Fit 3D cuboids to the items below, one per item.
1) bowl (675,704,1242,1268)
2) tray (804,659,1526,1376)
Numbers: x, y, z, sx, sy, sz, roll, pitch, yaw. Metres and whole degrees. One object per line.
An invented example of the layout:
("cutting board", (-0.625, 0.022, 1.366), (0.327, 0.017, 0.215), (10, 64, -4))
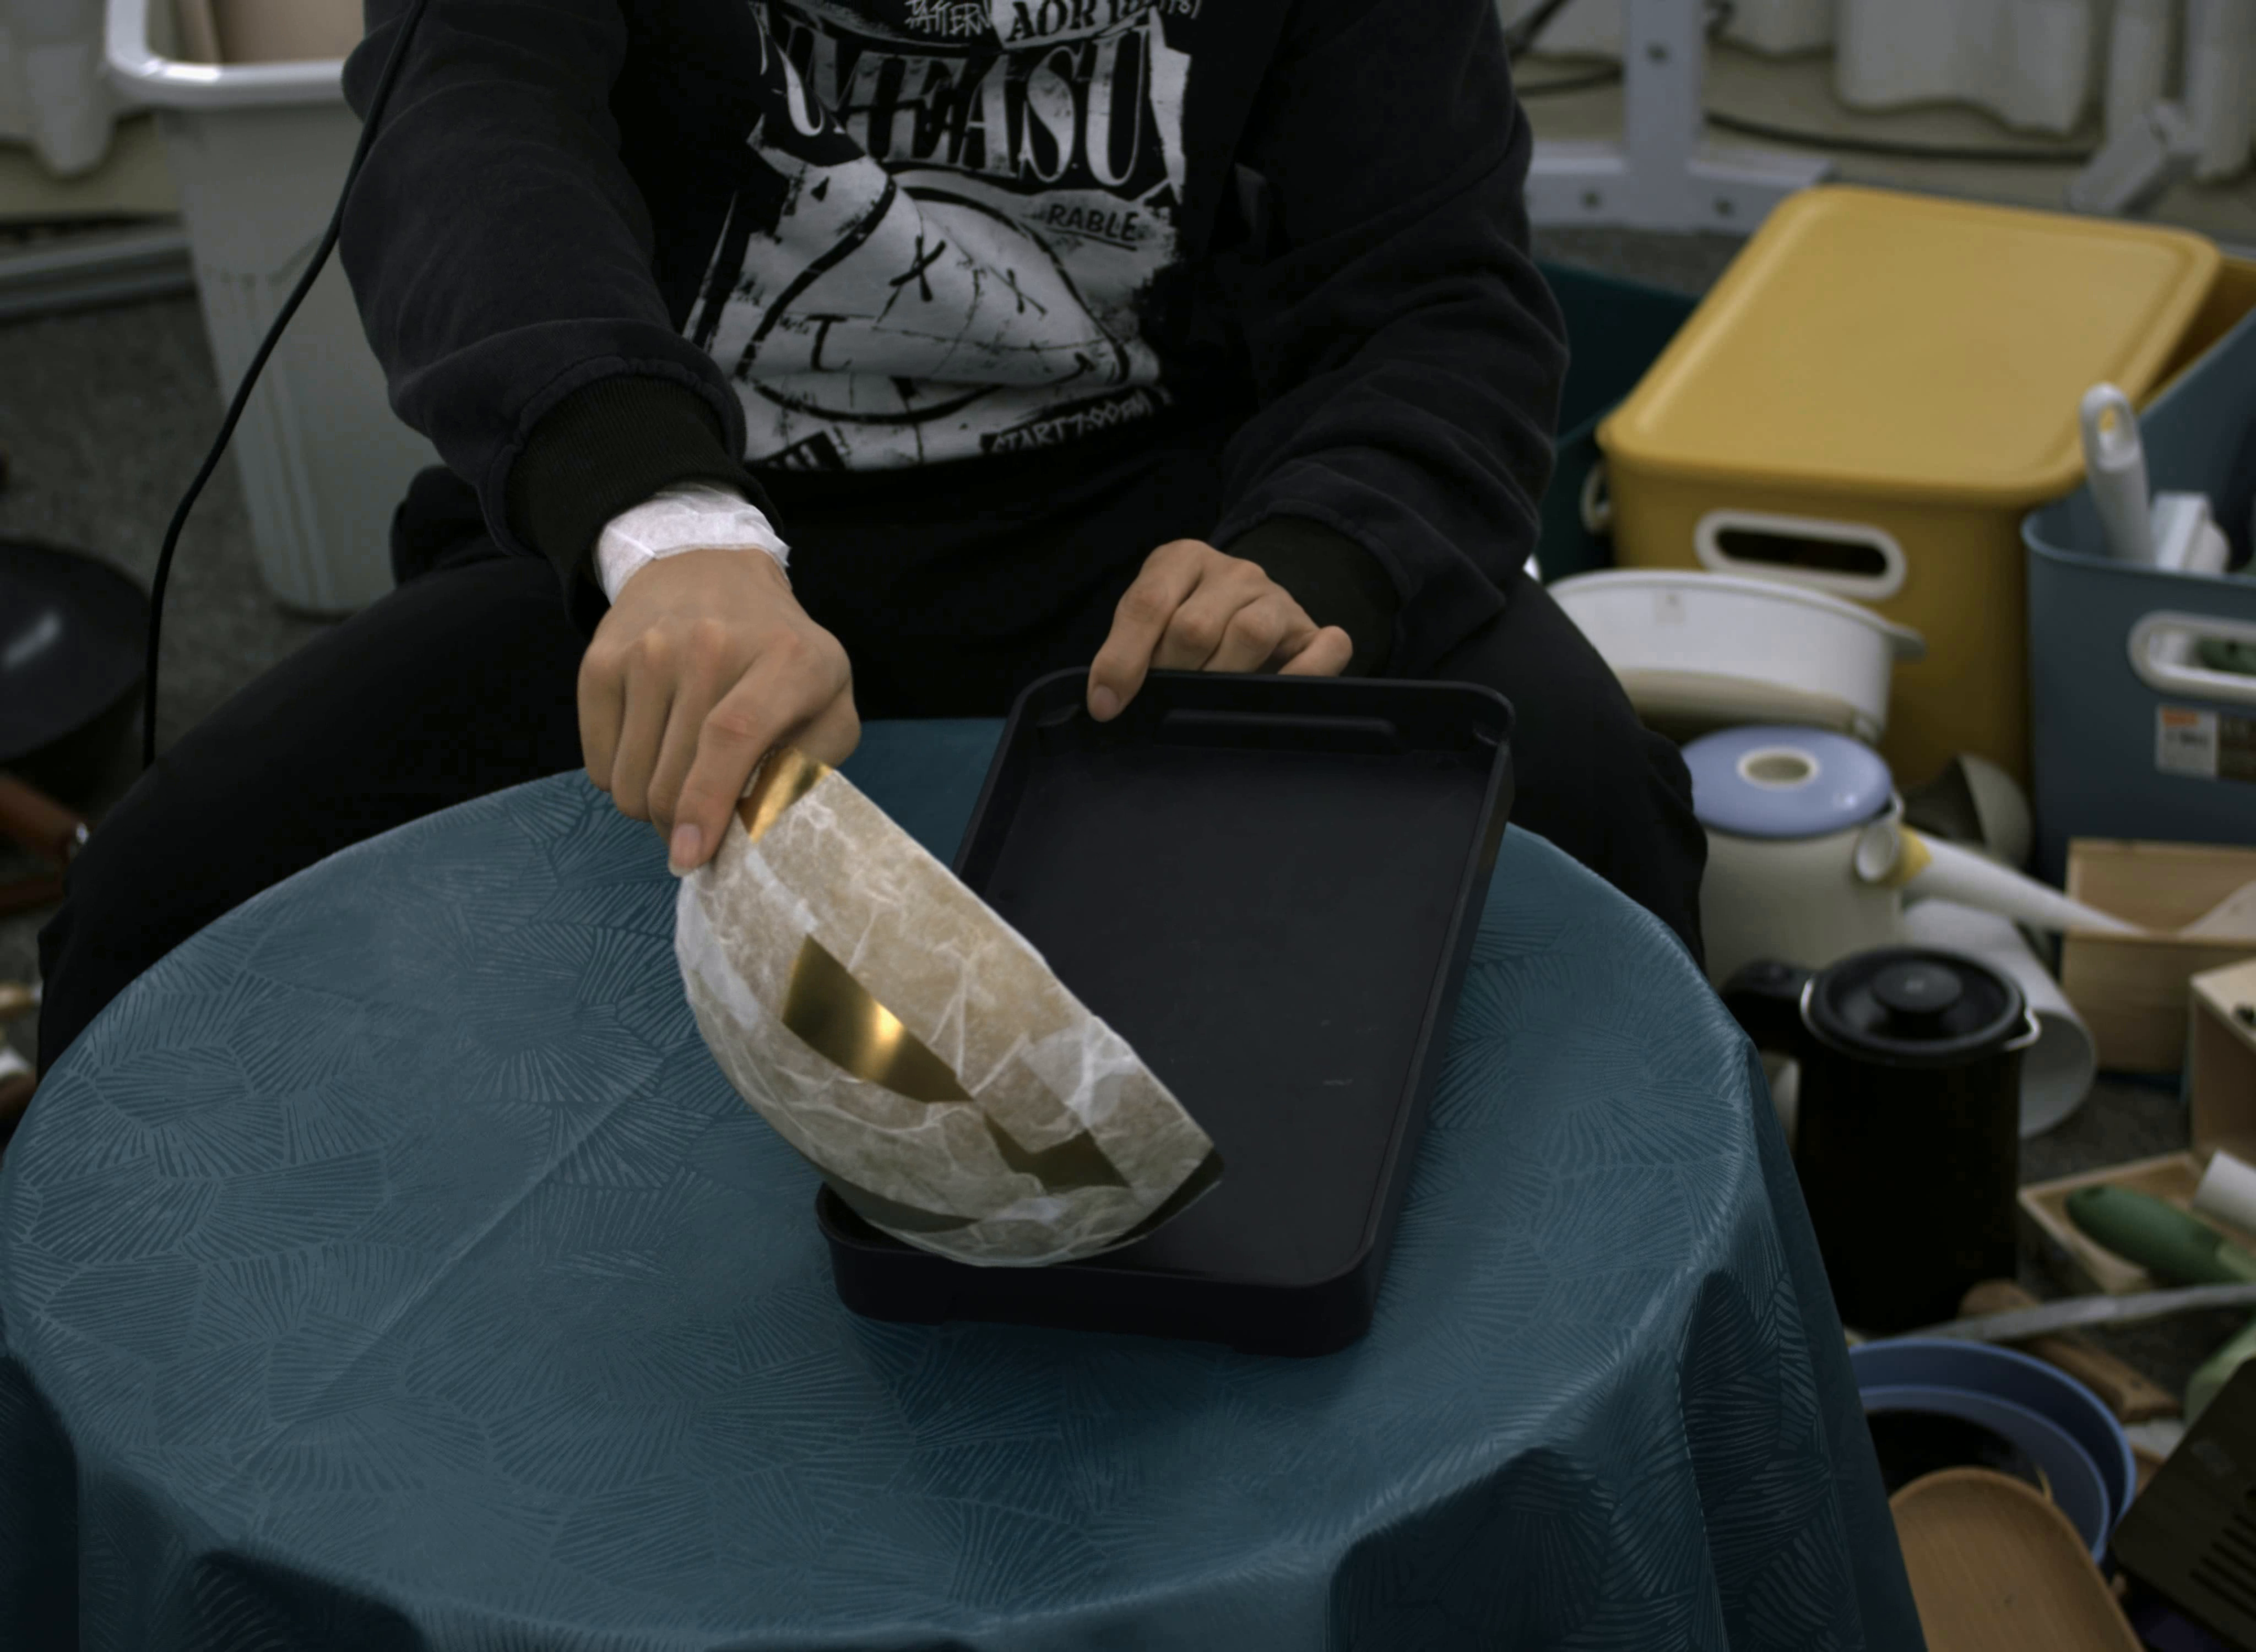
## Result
("bowl", (-0.071, 0.070, 1.749), (0.095, 0.213, 0.215), (-46, 38, -6))
("tray", (0.020, 0.058, 1.896), (0.183, 0.036, 0.324), (5, 39, 14))
